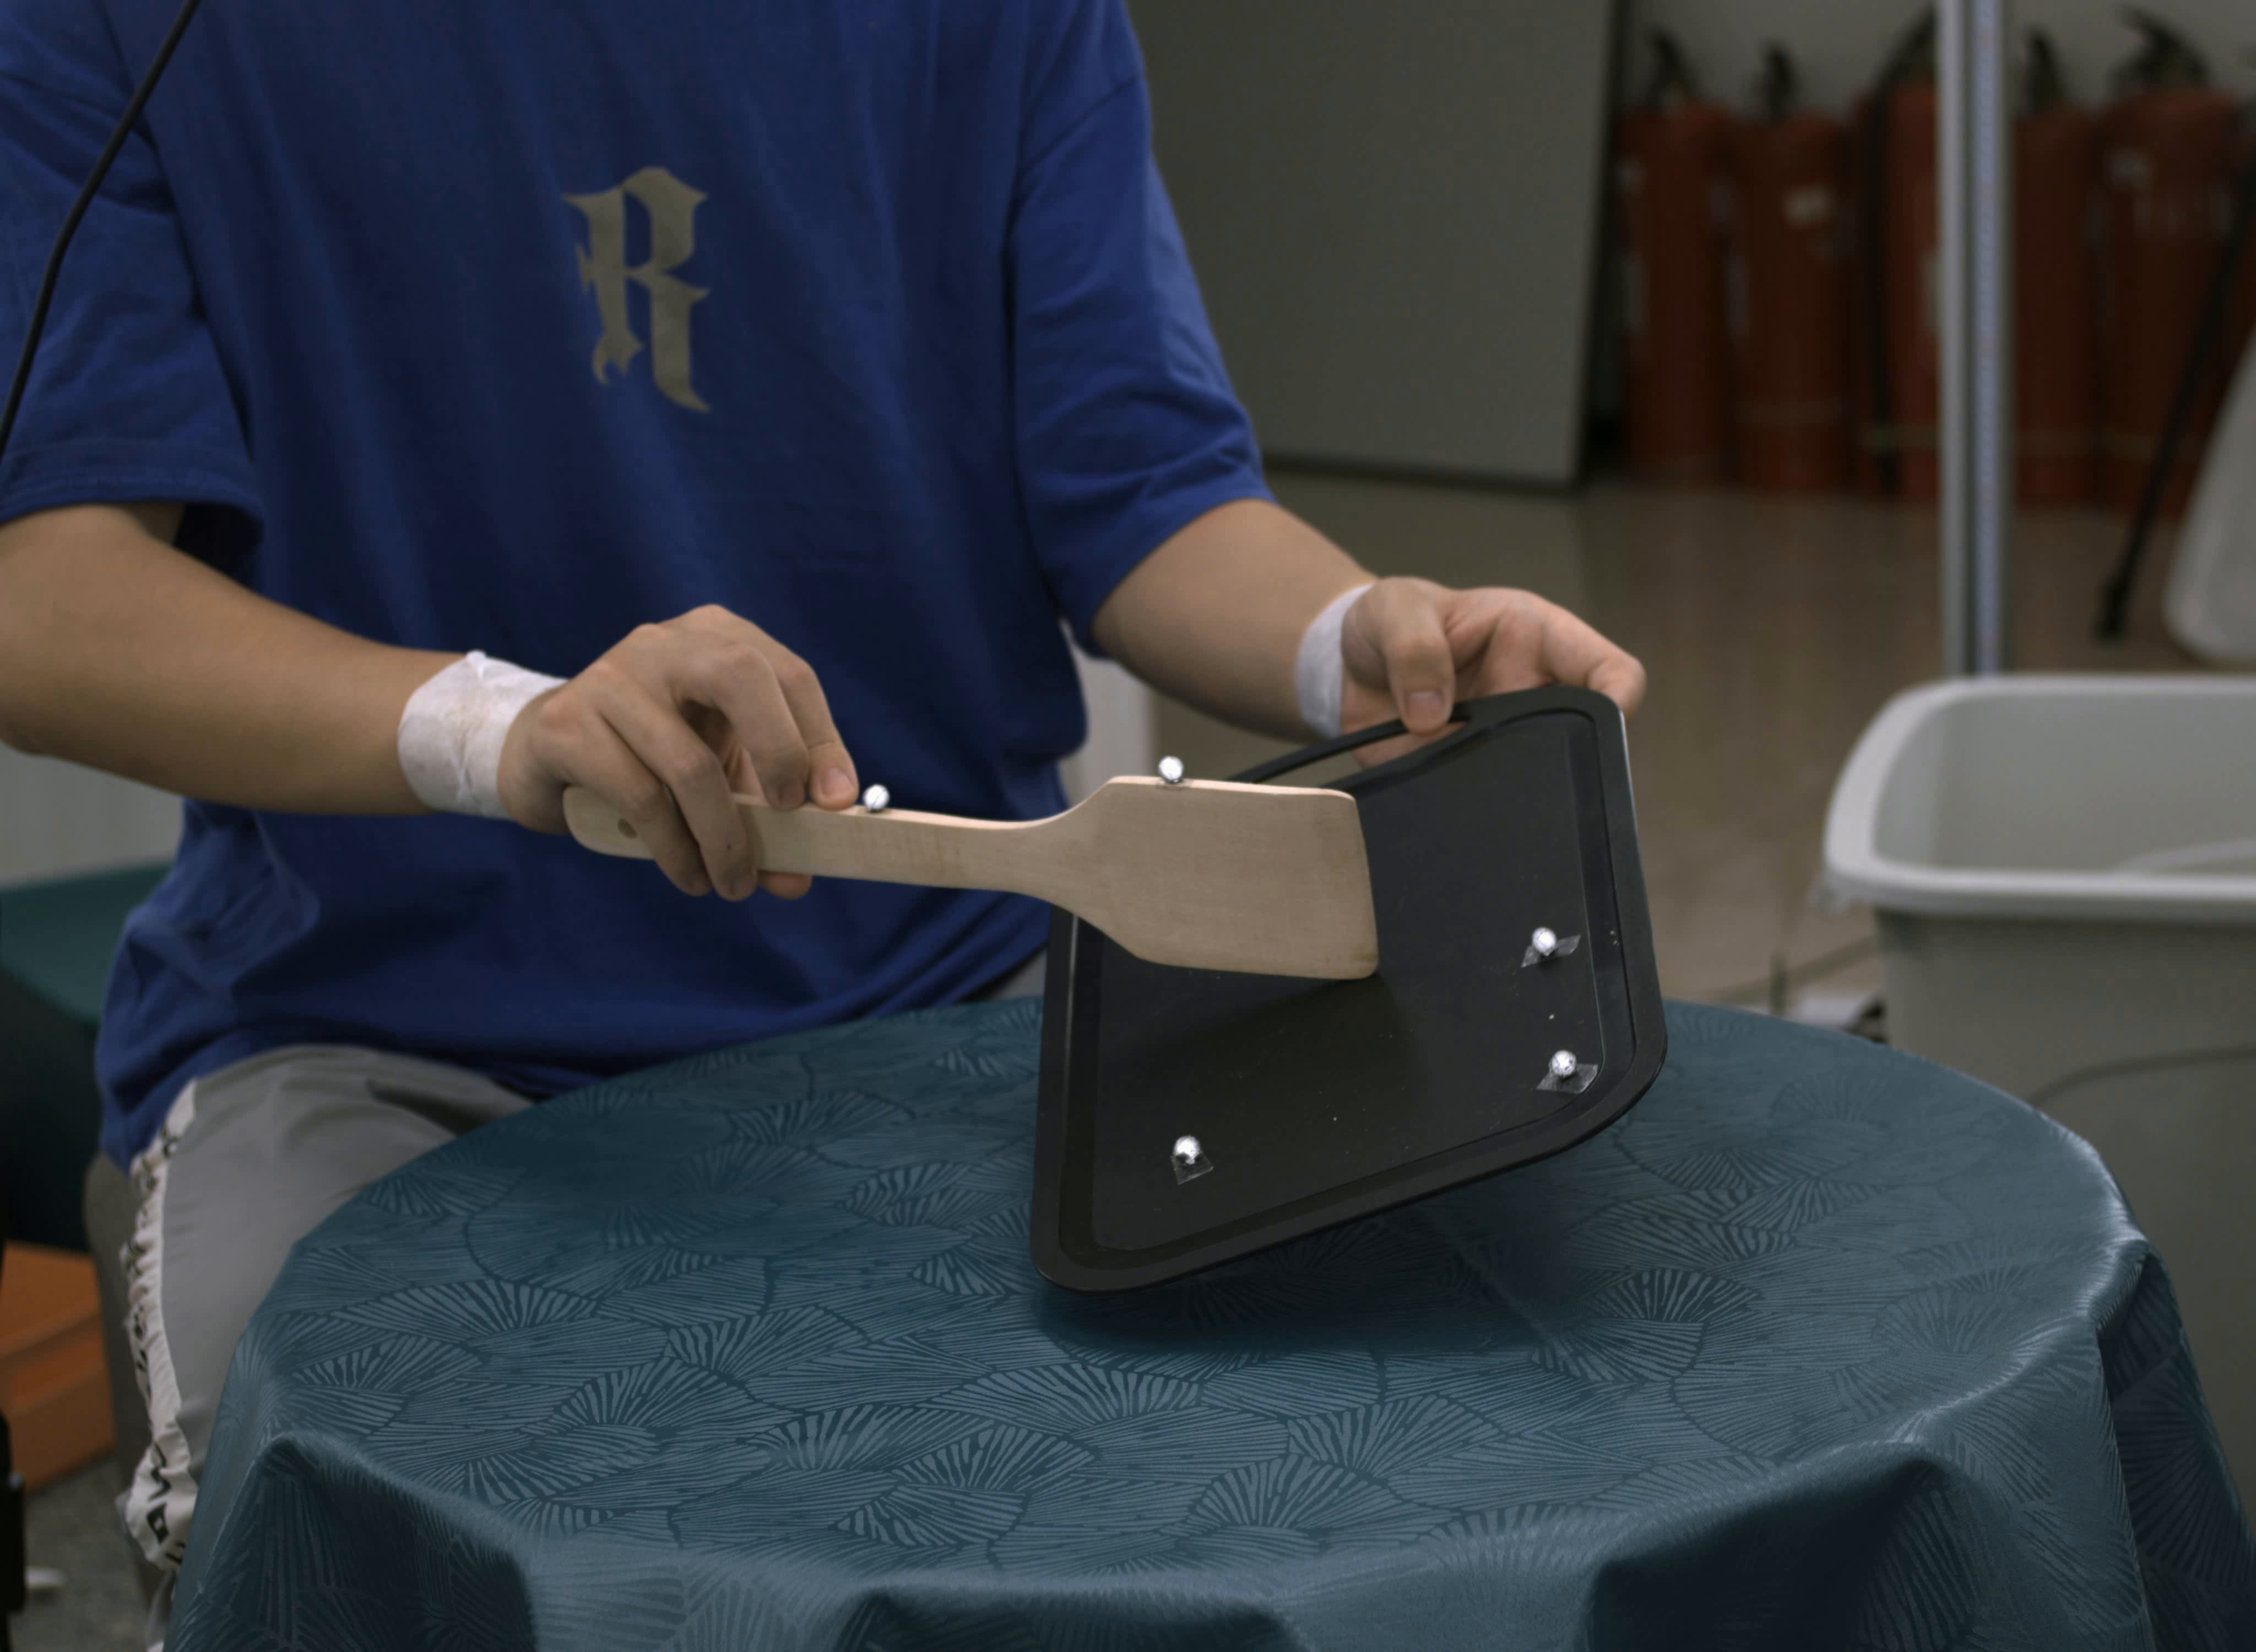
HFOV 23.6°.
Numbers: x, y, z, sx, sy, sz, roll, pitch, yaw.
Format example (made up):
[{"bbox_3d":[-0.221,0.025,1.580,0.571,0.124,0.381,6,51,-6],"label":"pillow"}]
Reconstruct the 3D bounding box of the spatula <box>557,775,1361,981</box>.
[{"bbox_3d":[-0.061,0.007,1.766,0.293,0.072,0.010,5,32,26],"label":"spatula"}]

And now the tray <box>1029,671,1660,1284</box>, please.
[{"bbox_3d":[0.068,0.039,1.744,0.210,0.010,0.326,-20,25,13],"label":"tray"}]
